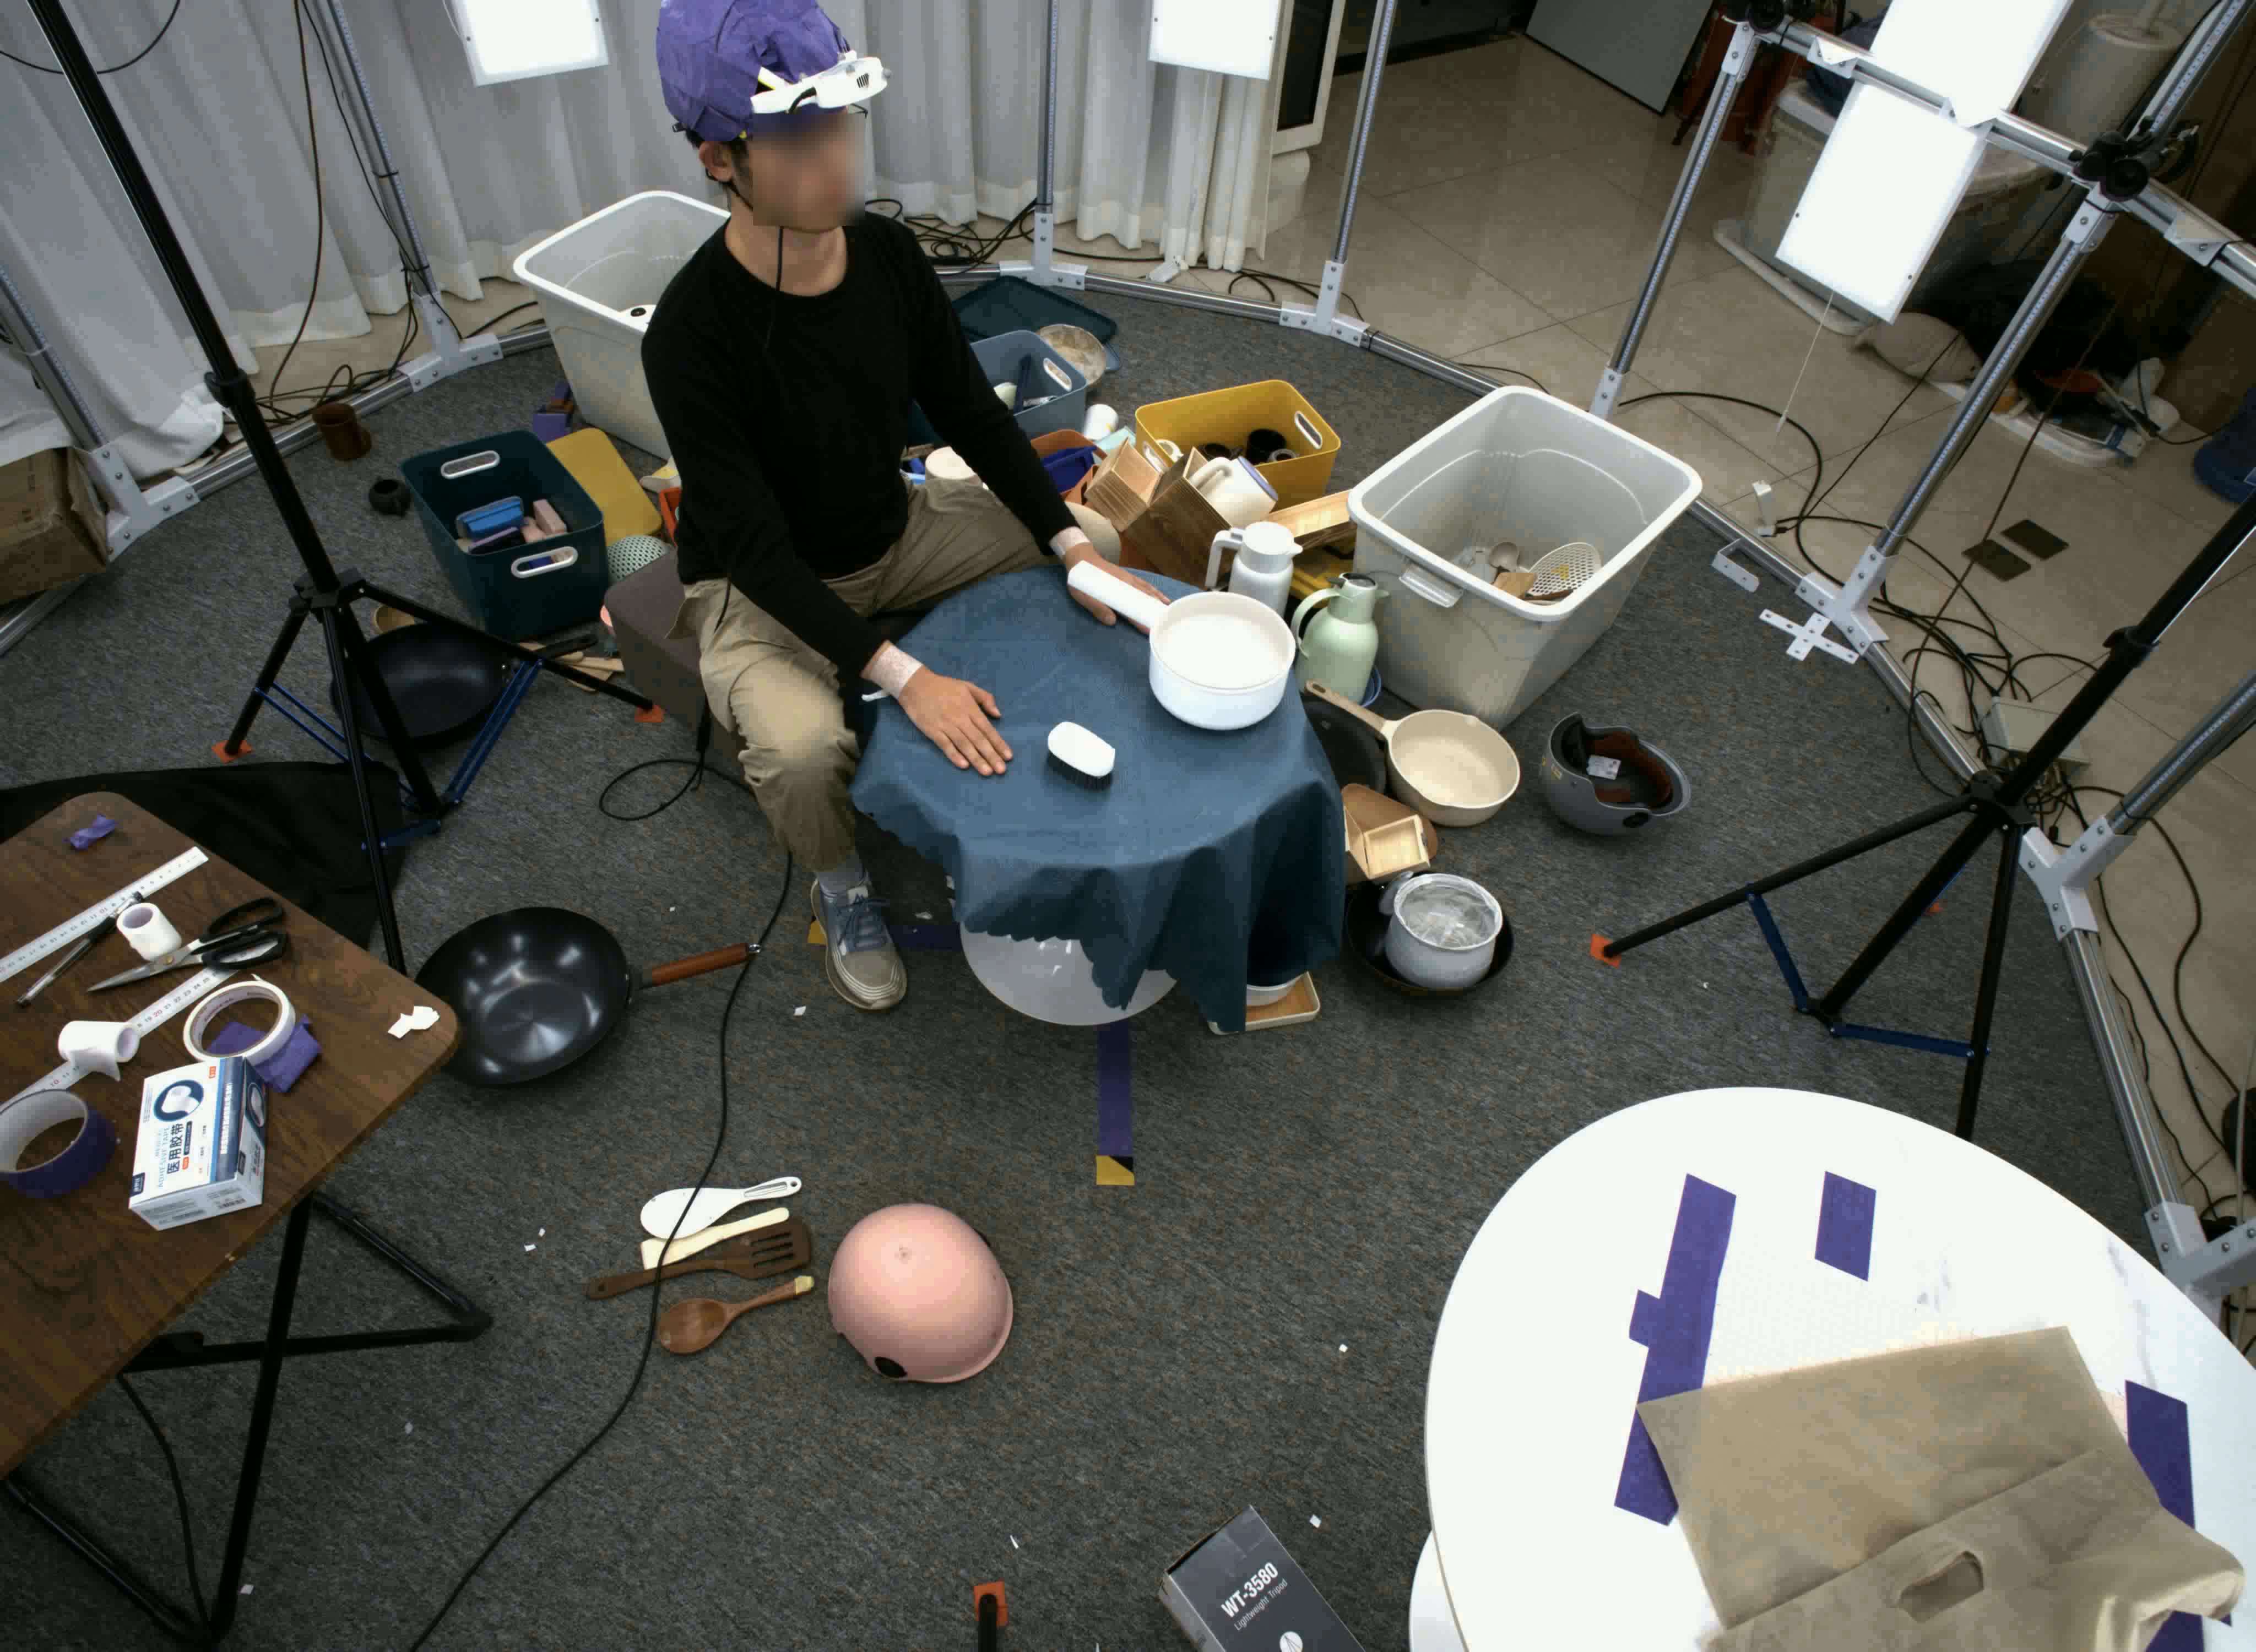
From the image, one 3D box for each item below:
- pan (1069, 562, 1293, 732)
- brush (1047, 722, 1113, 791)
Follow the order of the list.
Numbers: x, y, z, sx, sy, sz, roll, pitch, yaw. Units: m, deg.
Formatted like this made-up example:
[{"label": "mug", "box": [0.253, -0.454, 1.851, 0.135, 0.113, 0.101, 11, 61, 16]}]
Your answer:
[{"label": "pan", "box": [0.065, -0.263, 1.842, 0.359, 0.099, 0.204, 30, 56, 21]}, {"label": "brush", "box": [-0.064, -0.100, 1.705, 0.100, 0.071, 0.051, 32, 54, 21]}]
